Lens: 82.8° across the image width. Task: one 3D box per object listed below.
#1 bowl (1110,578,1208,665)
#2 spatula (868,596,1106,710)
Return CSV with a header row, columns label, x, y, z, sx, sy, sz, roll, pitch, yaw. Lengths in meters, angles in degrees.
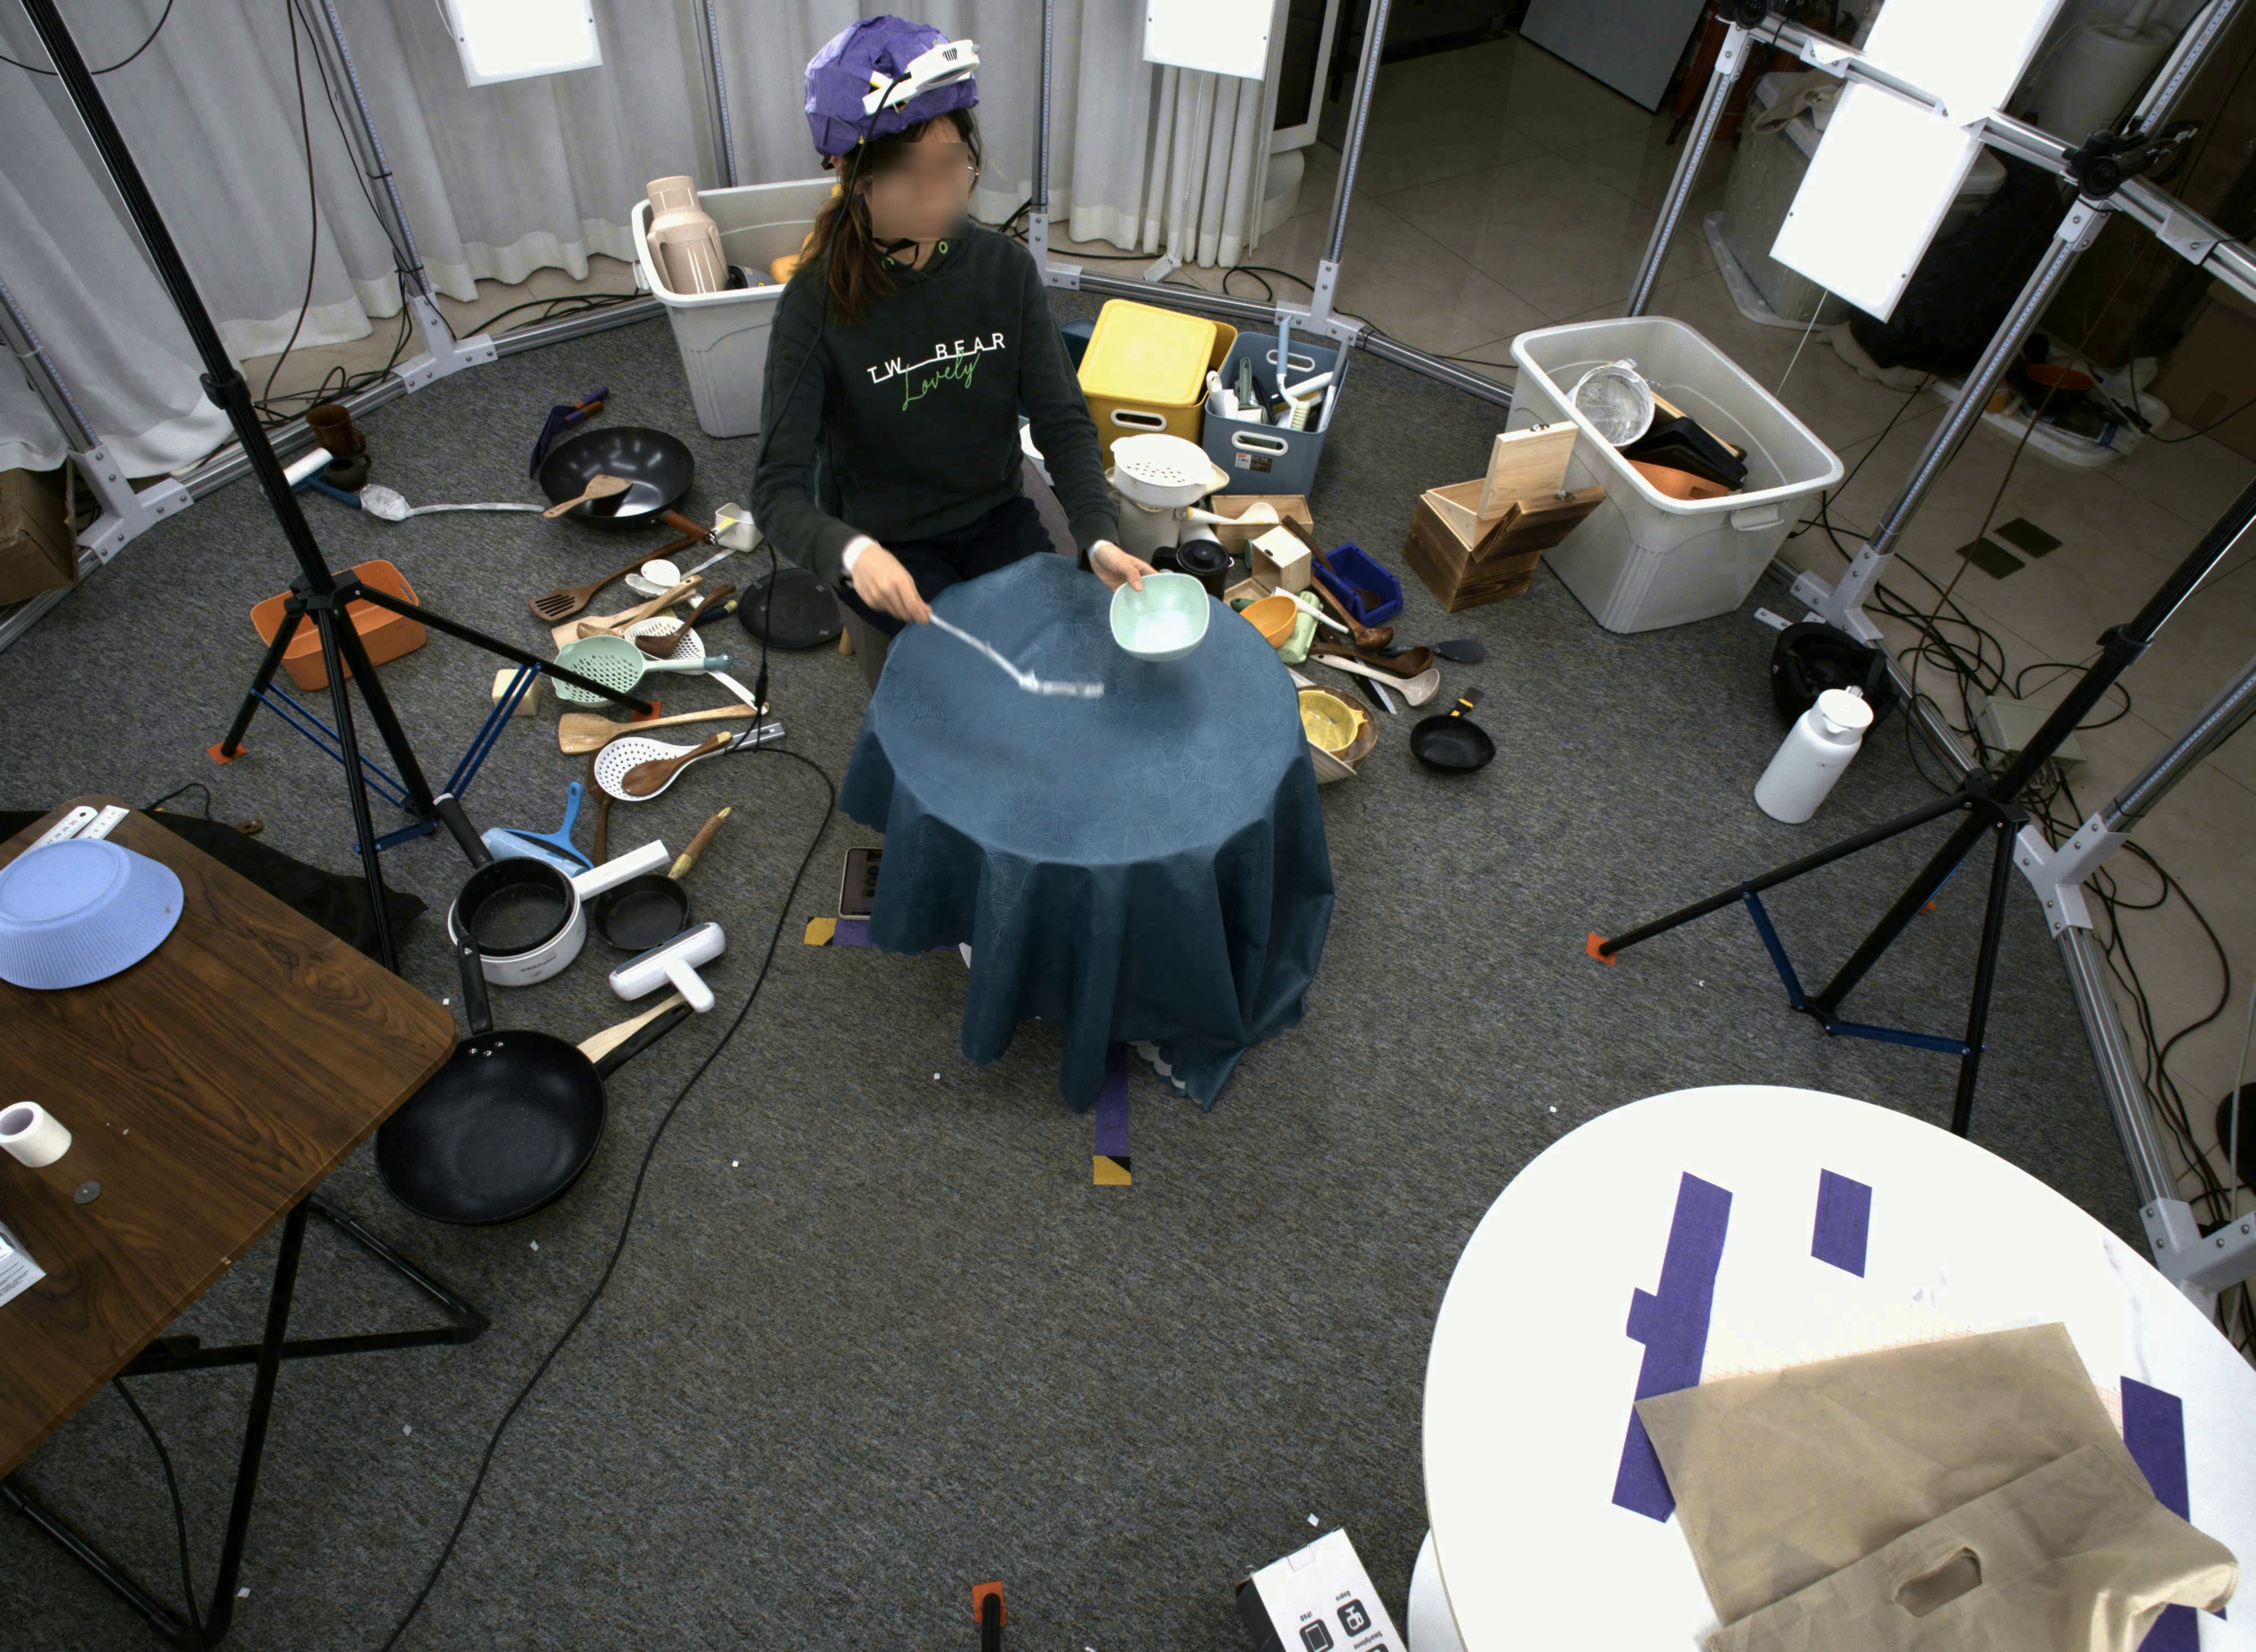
label,x,y,z,sx,sy,sz,roll,pitch,yaw
bowl,0.046,-0.280,1.824,0.151,0.057,0.155,-3,58,5
spatula,-0.194,-0.229,1.669,0.368,0.044,0.099,33,21,15
